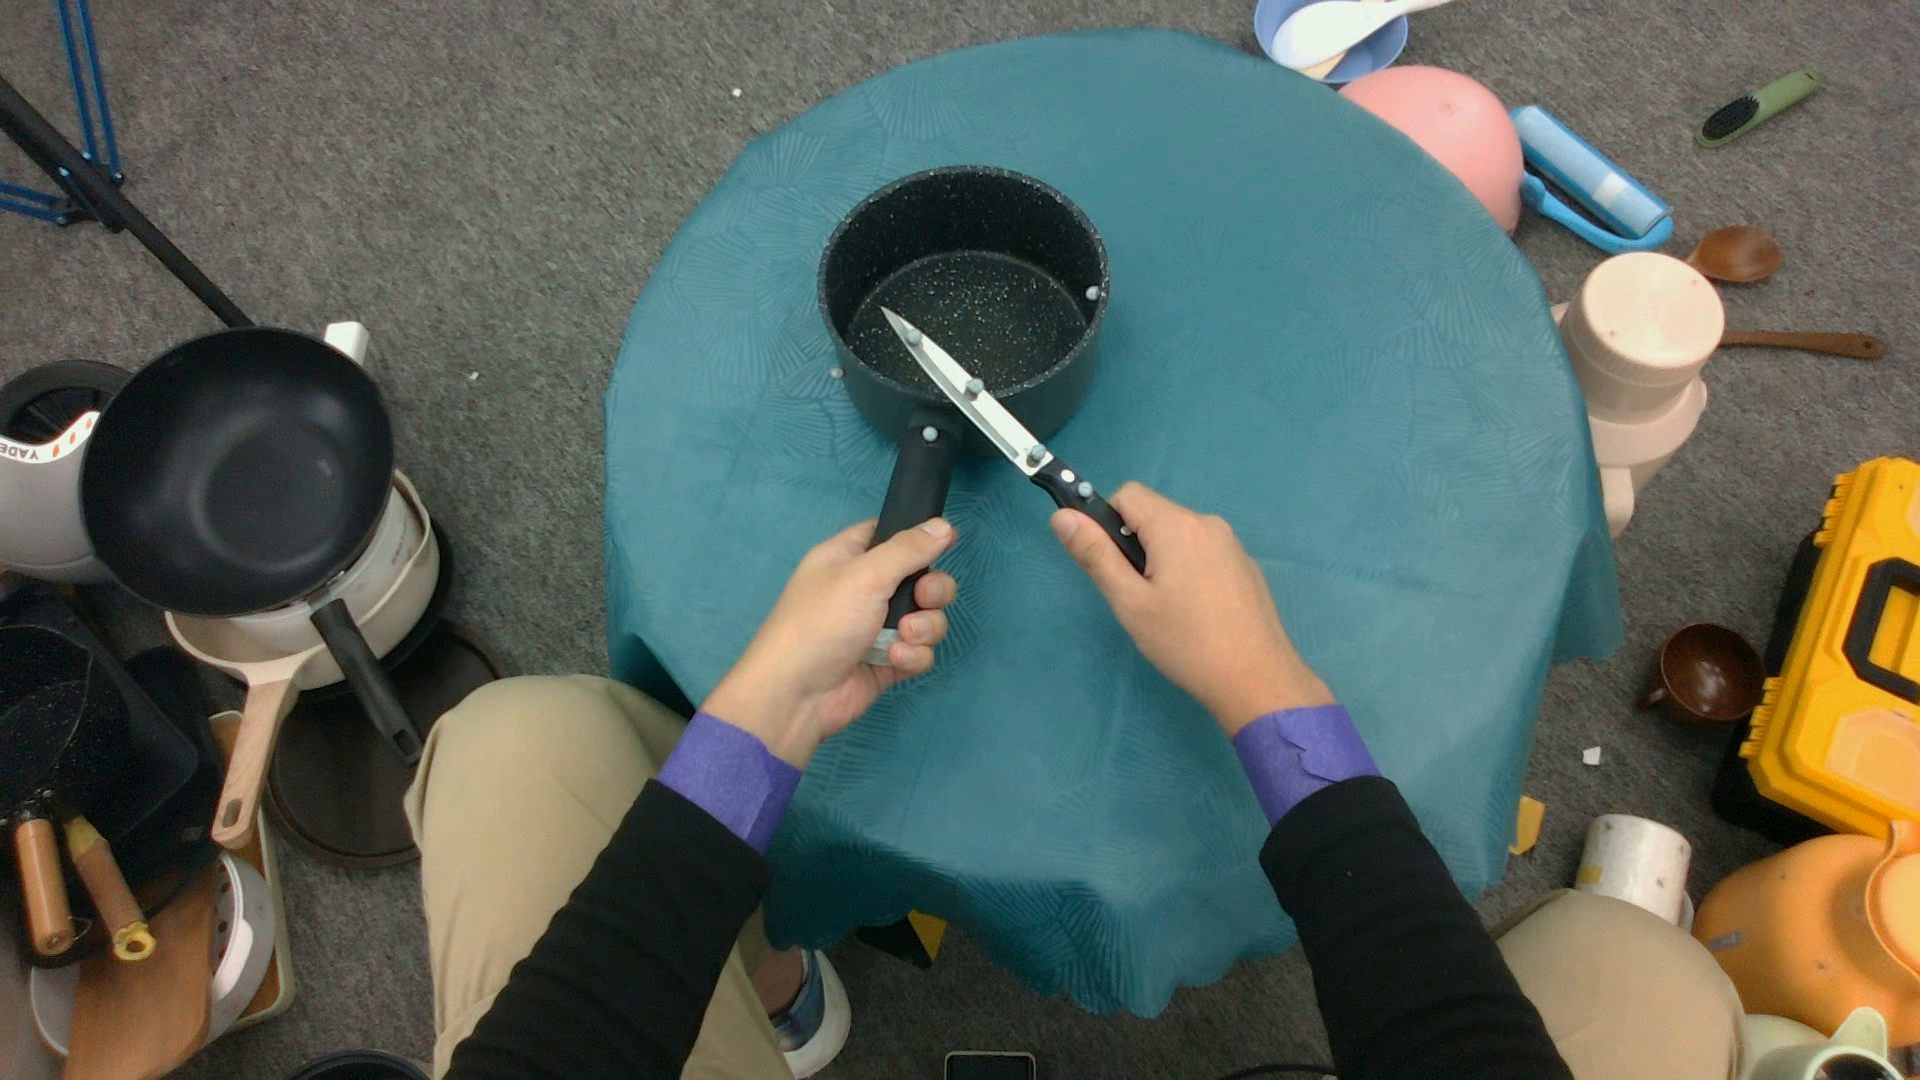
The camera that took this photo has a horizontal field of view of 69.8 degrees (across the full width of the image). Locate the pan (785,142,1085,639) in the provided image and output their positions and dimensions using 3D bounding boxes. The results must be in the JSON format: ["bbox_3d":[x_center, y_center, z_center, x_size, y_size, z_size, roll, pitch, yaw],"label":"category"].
[{"bbox_3d":[-0.031,-0.081,0.790,0.172,0.086,0.330,11,62,8],"label":"pan"}]

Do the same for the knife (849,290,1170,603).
[{"bbox_3d":[0.026,-0.056,0.737,0.238,0.016,0.024,45,53,8],"label":"knife"}]
